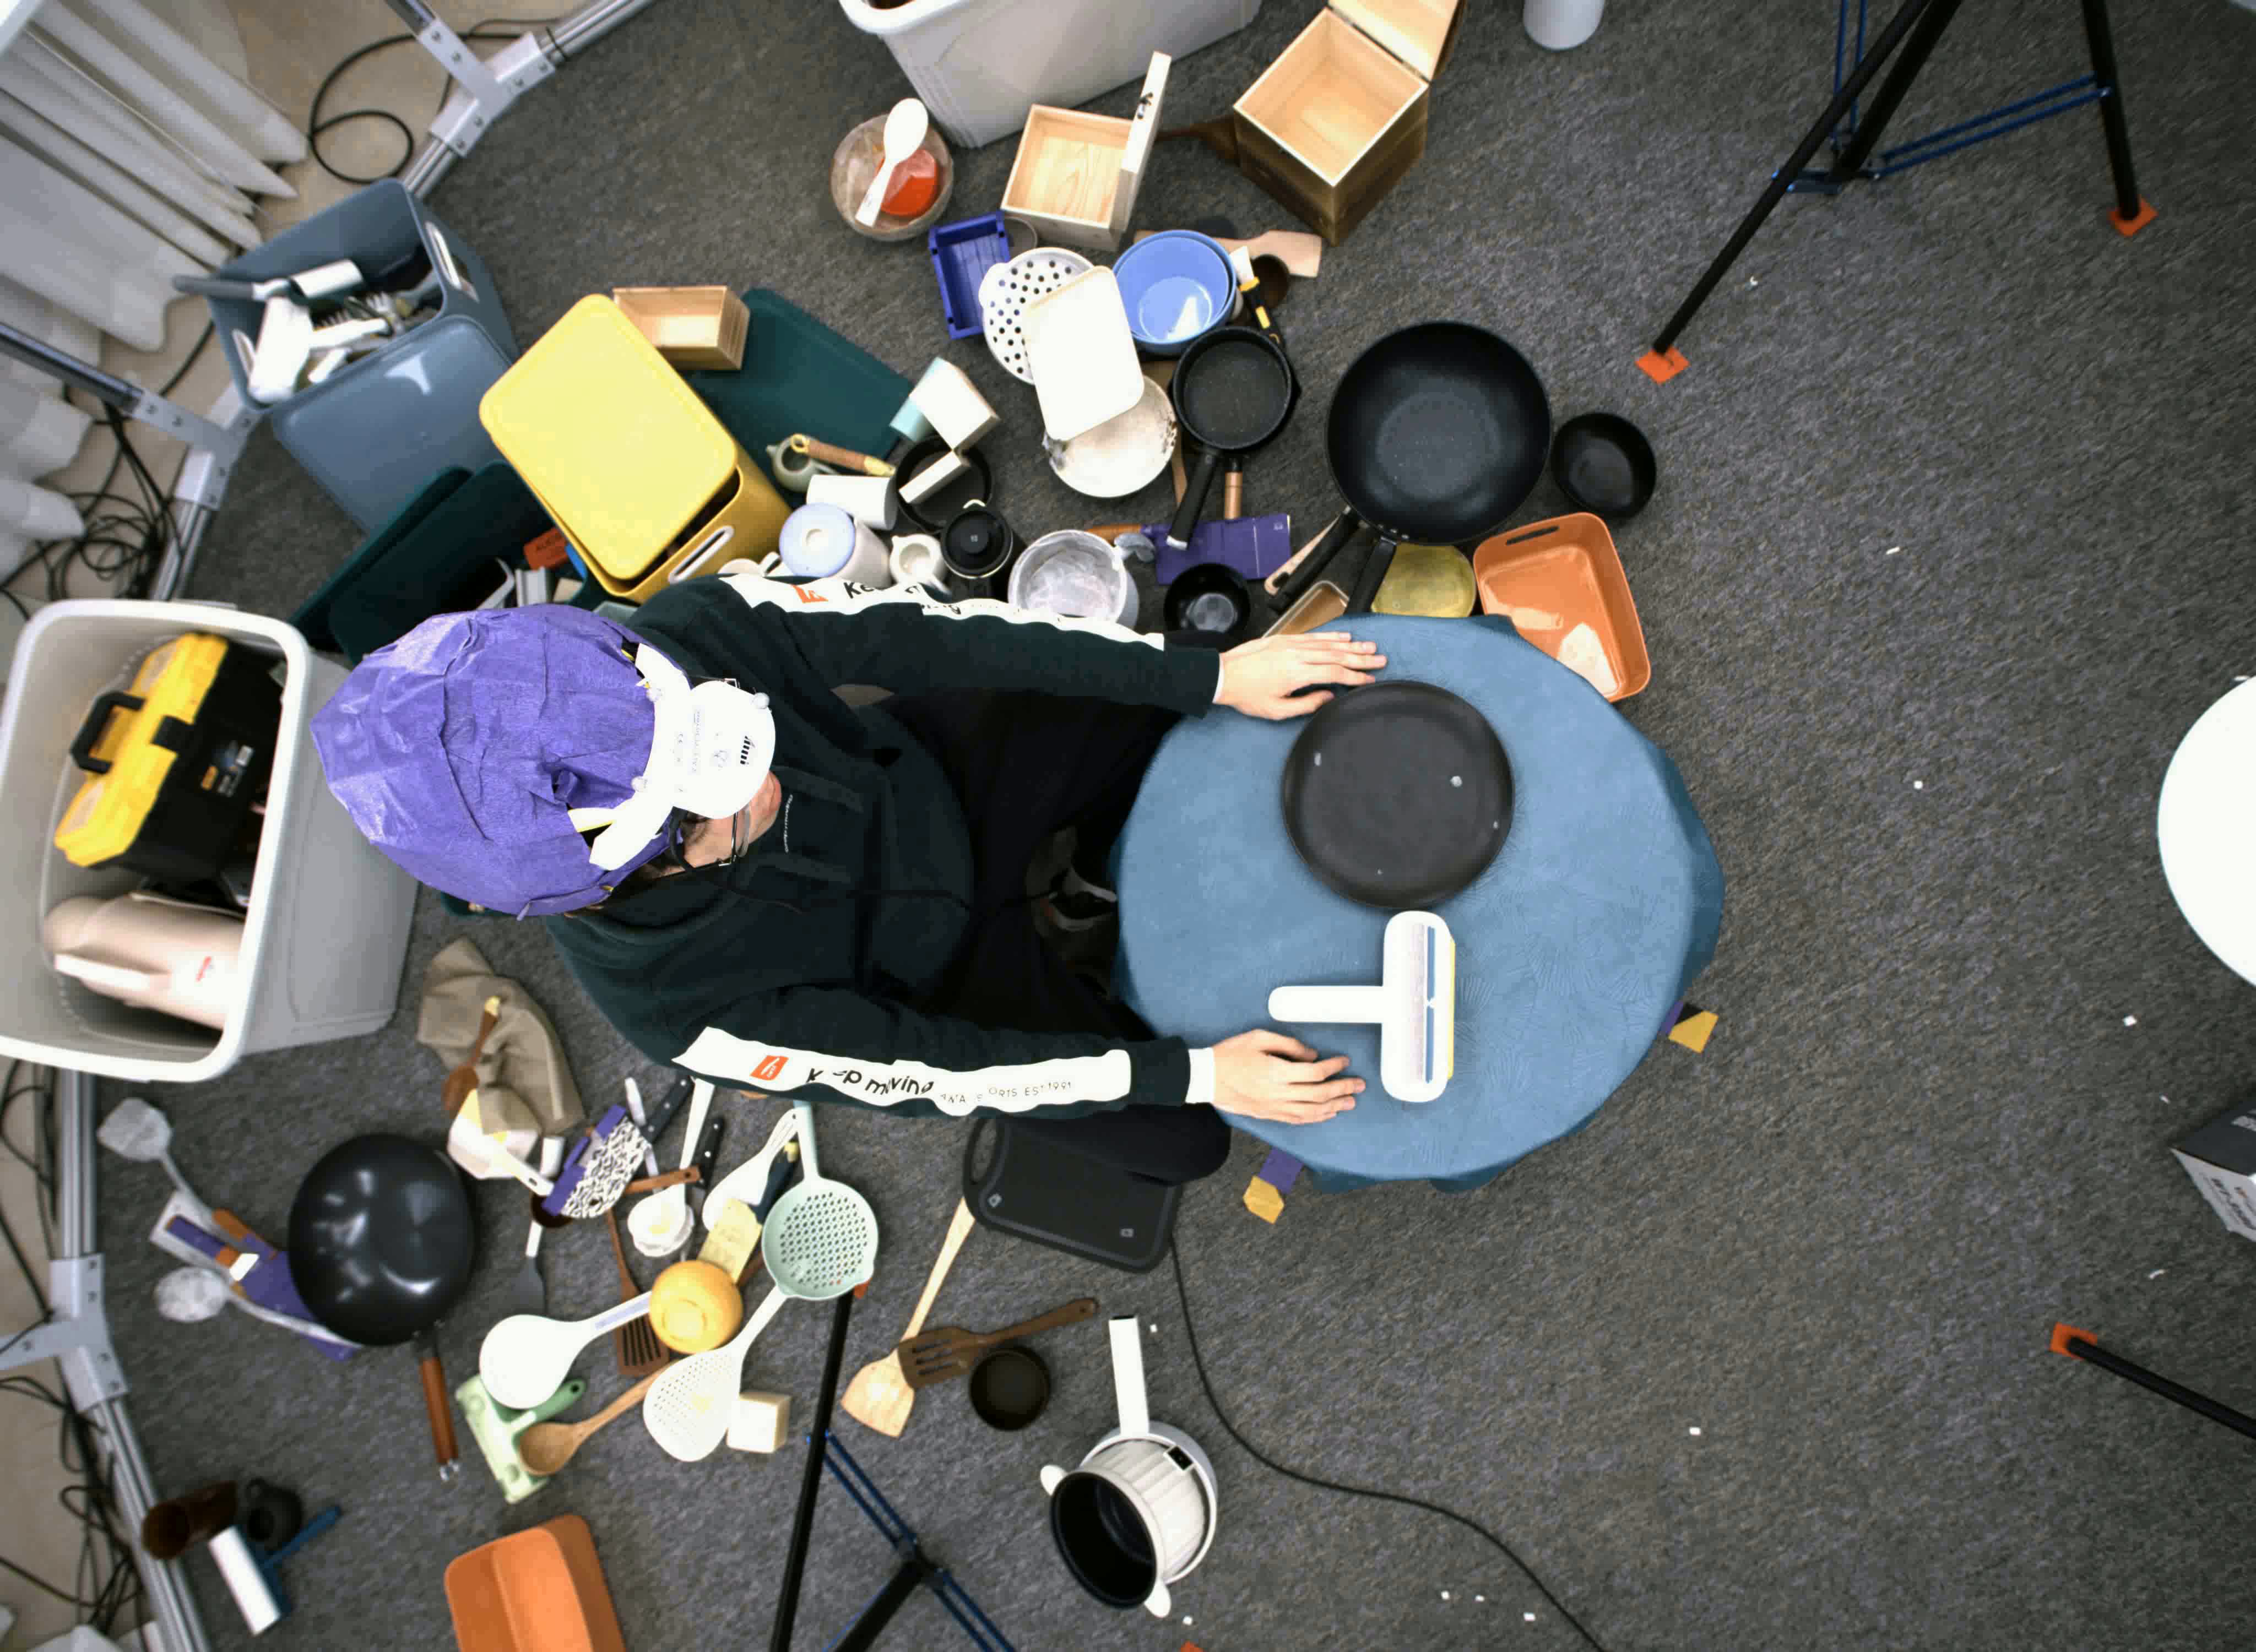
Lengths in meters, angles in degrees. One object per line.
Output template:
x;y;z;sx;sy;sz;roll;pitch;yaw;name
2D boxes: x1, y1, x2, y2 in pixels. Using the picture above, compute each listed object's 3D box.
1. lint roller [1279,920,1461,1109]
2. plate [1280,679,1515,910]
0.243;0.188;1.439;0.193;0.074;0.191;5;80;25;lint roller
0.281;-0.034;1.447;0.245;0.023;0.243;-1;87;10;plate
